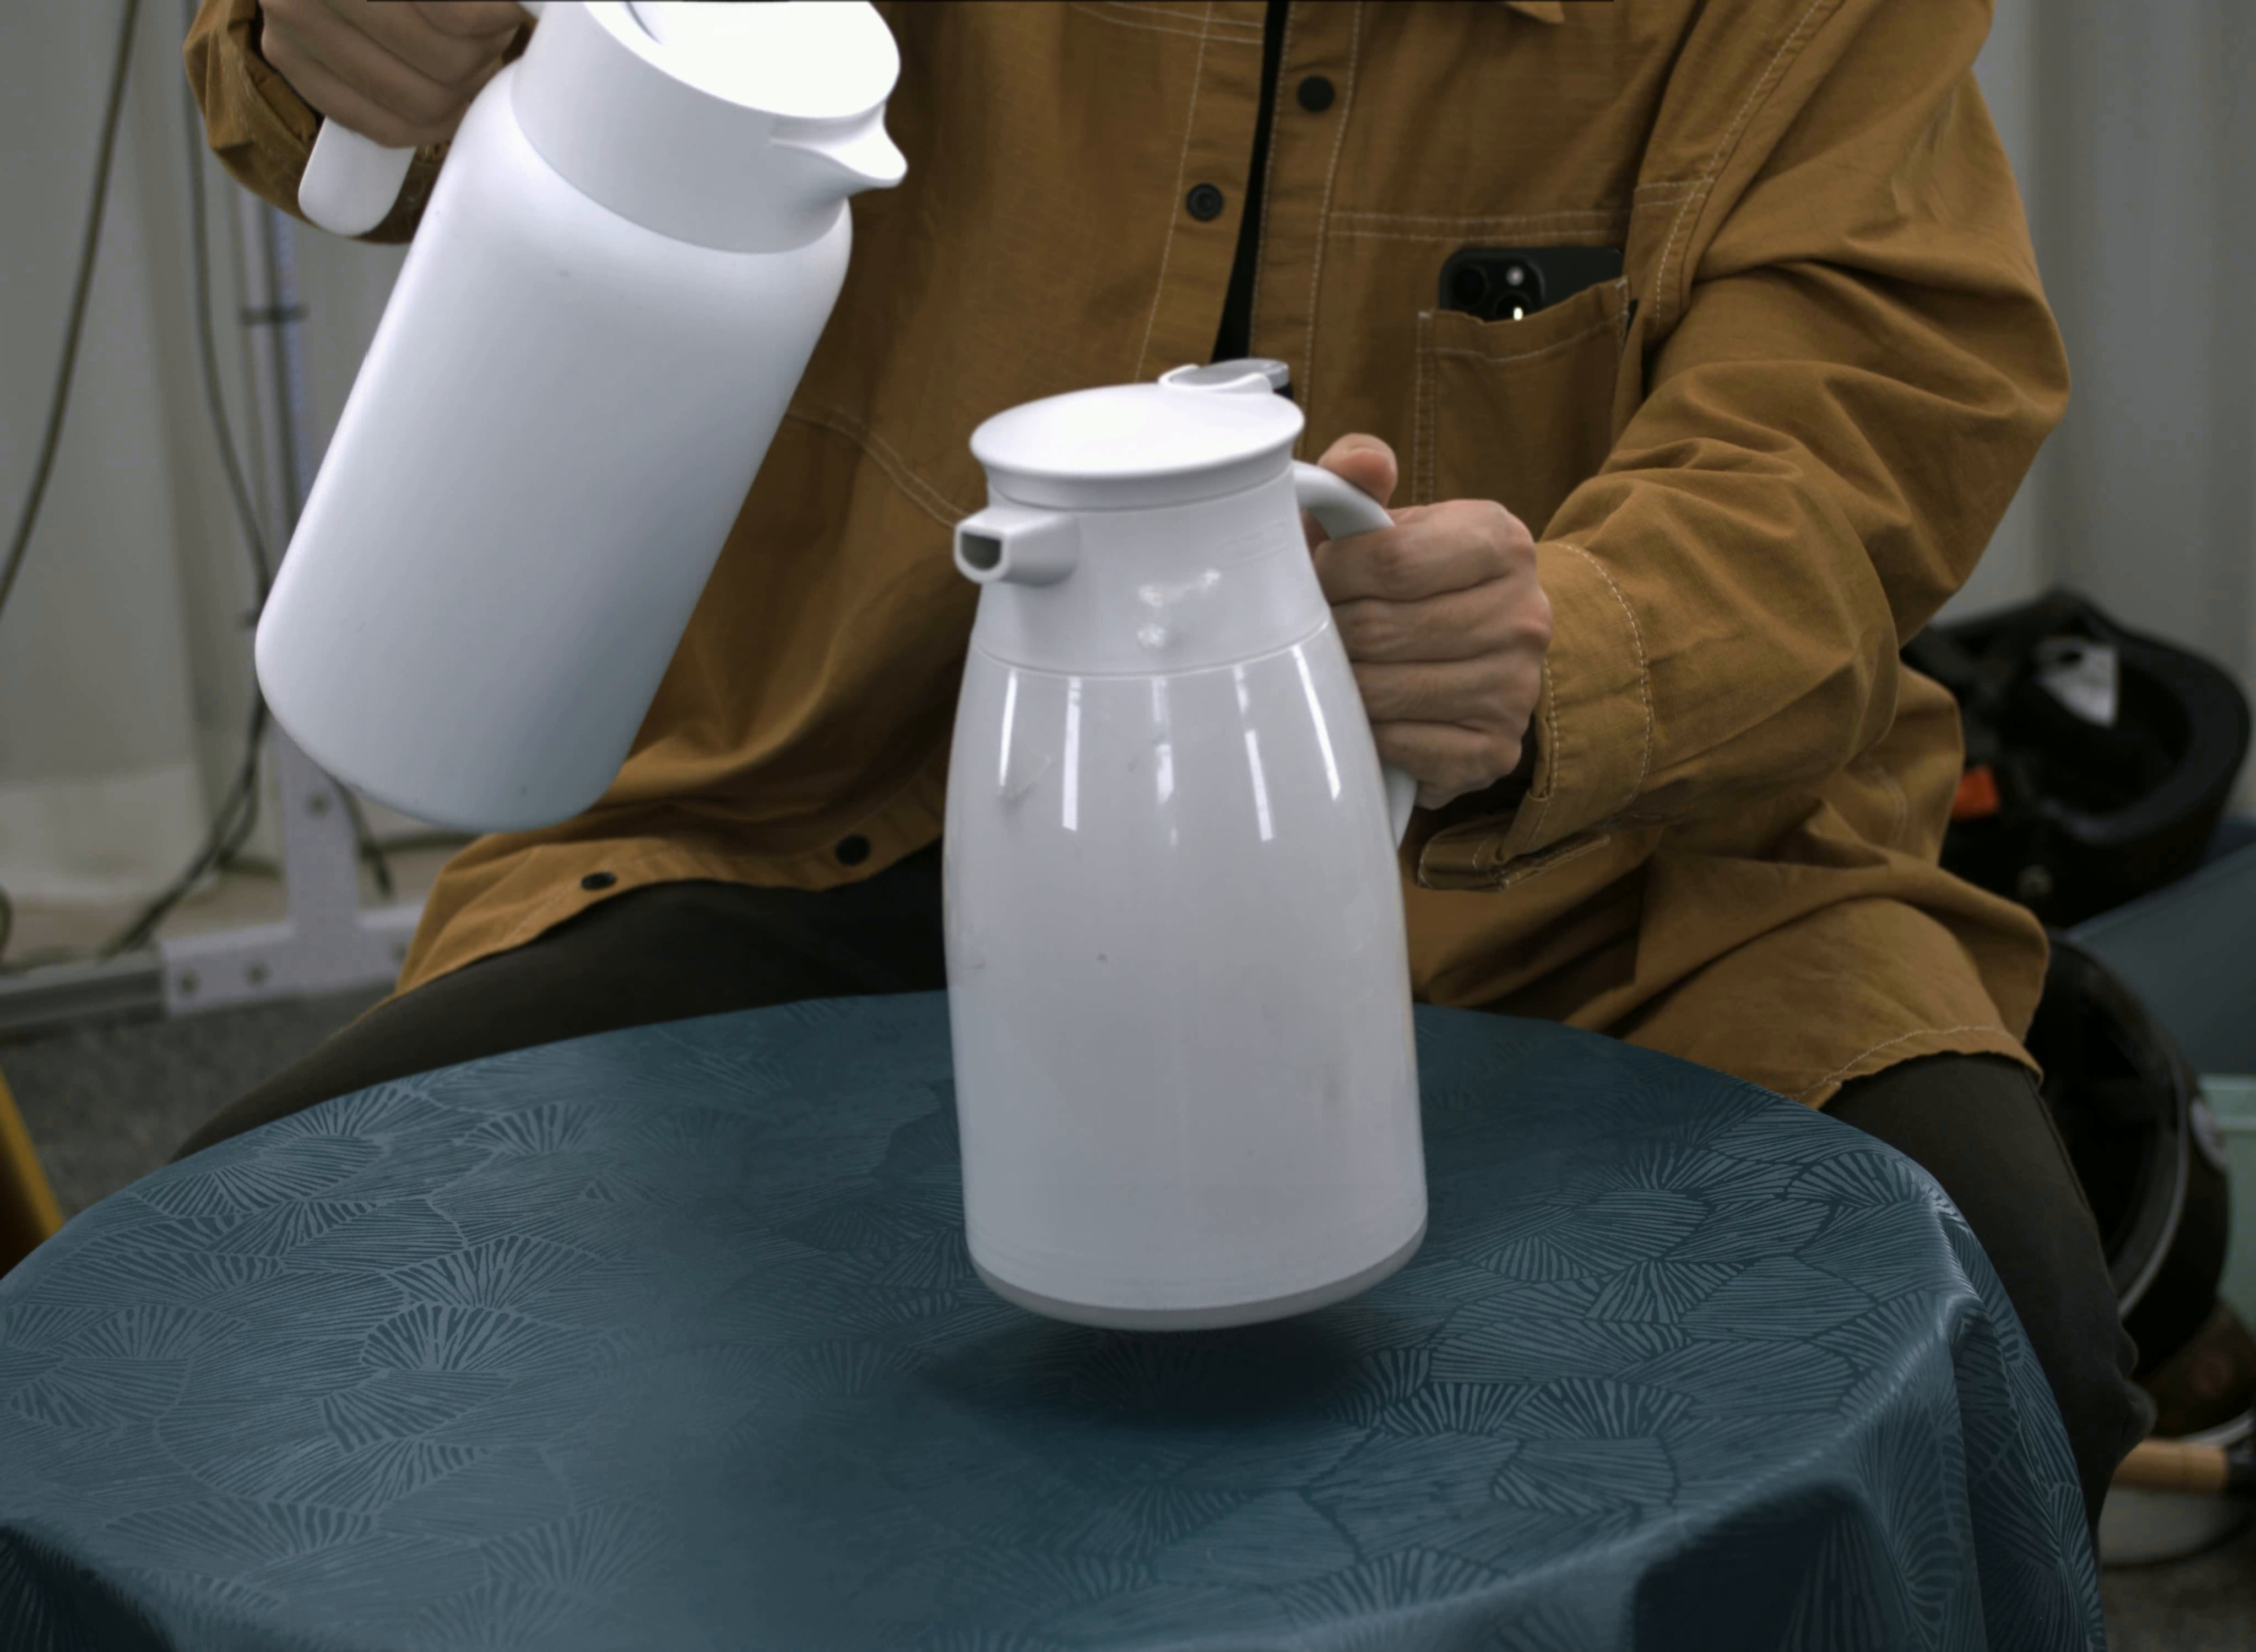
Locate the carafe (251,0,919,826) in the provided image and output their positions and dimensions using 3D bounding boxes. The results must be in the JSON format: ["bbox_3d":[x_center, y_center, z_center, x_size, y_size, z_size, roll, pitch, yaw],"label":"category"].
[{"bbox_3d":[-0.172,-0.142,1.589,0.174,0.266,0.124,40,37,17],"label":"carafe"}]

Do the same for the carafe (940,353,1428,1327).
[{"bbox_3d":[0.023,-0.005,1.536,0.133,0.247,0.167,12,22,42],"label":"carafe"}]
